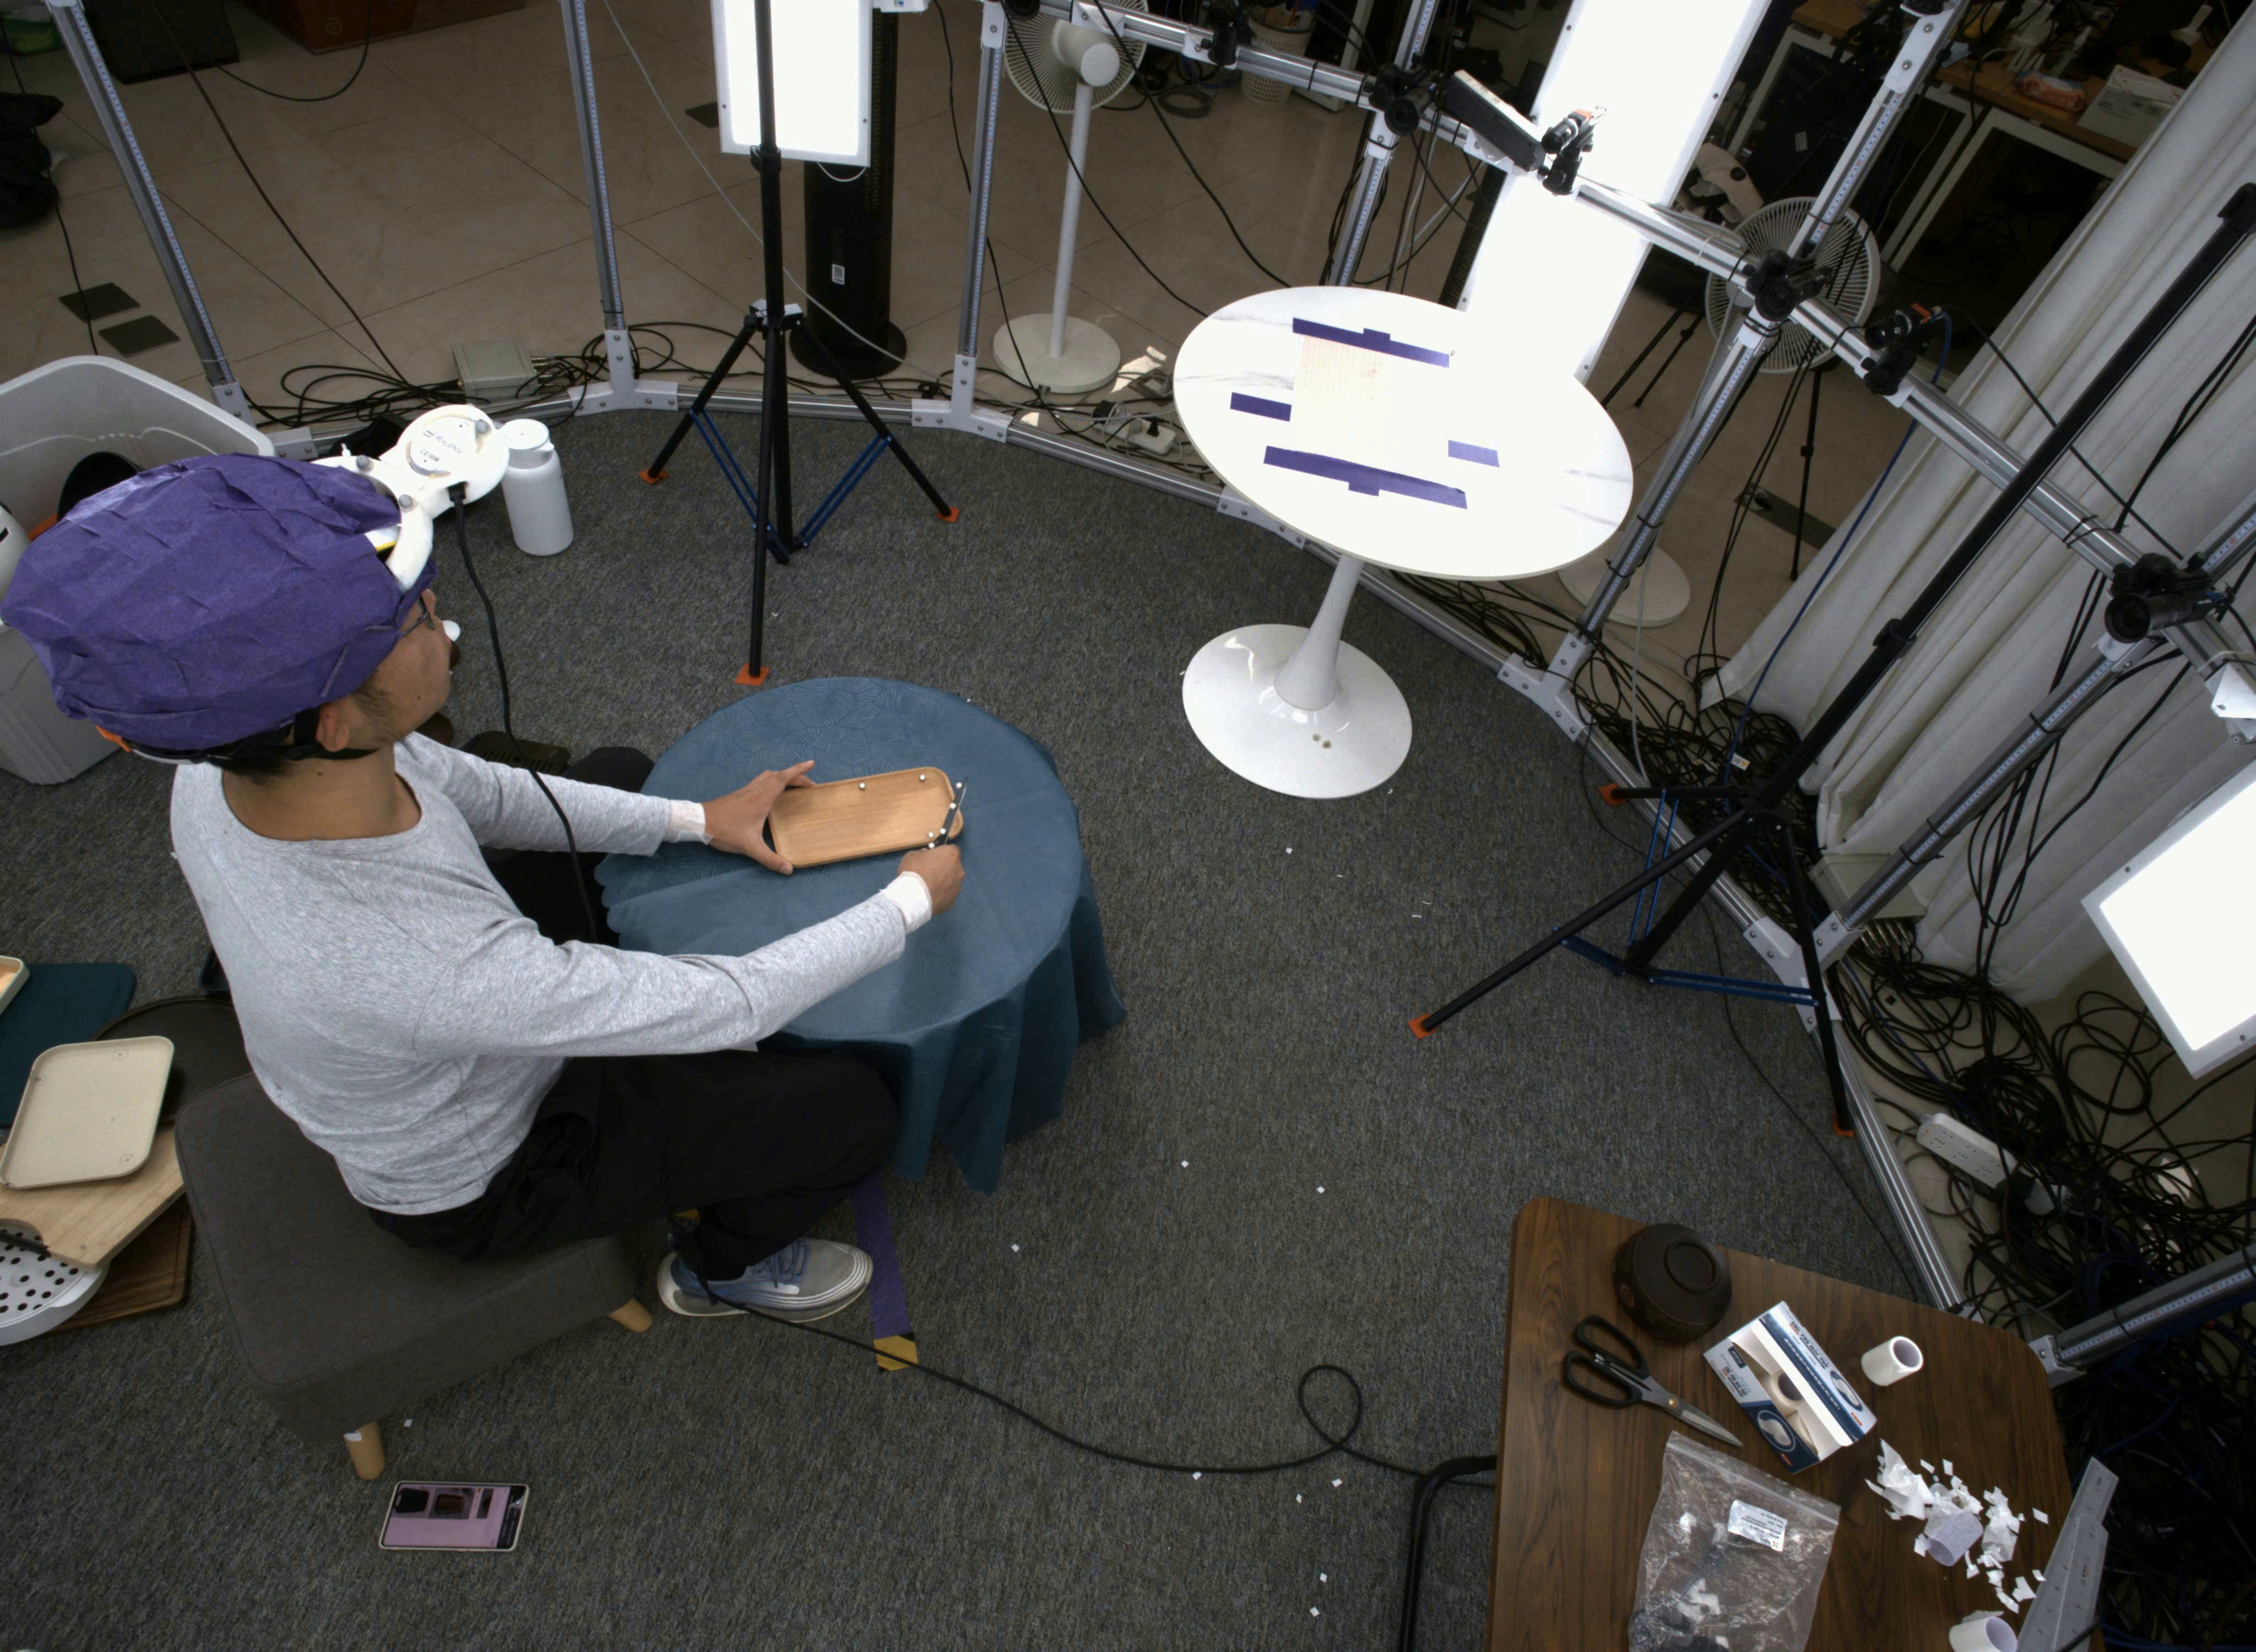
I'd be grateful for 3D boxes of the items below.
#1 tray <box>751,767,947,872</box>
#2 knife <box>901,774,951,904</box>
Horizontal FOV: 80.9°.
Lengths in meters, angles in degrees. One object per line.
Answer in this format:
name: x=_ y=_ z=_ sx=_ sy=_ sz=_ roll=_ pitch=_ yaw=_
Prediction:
tray: x=-0.374 y=-0.011 z=1.746 sx=0.252 sy=0.023 sz=0.127 roll=-12 pitch=55 yaw=-21
knife: x=-0.252 y=0.009 z=1.658 sx=0.017 sy=0.024 sz=0.234 roll=47 pitch=34 yaw=-29
